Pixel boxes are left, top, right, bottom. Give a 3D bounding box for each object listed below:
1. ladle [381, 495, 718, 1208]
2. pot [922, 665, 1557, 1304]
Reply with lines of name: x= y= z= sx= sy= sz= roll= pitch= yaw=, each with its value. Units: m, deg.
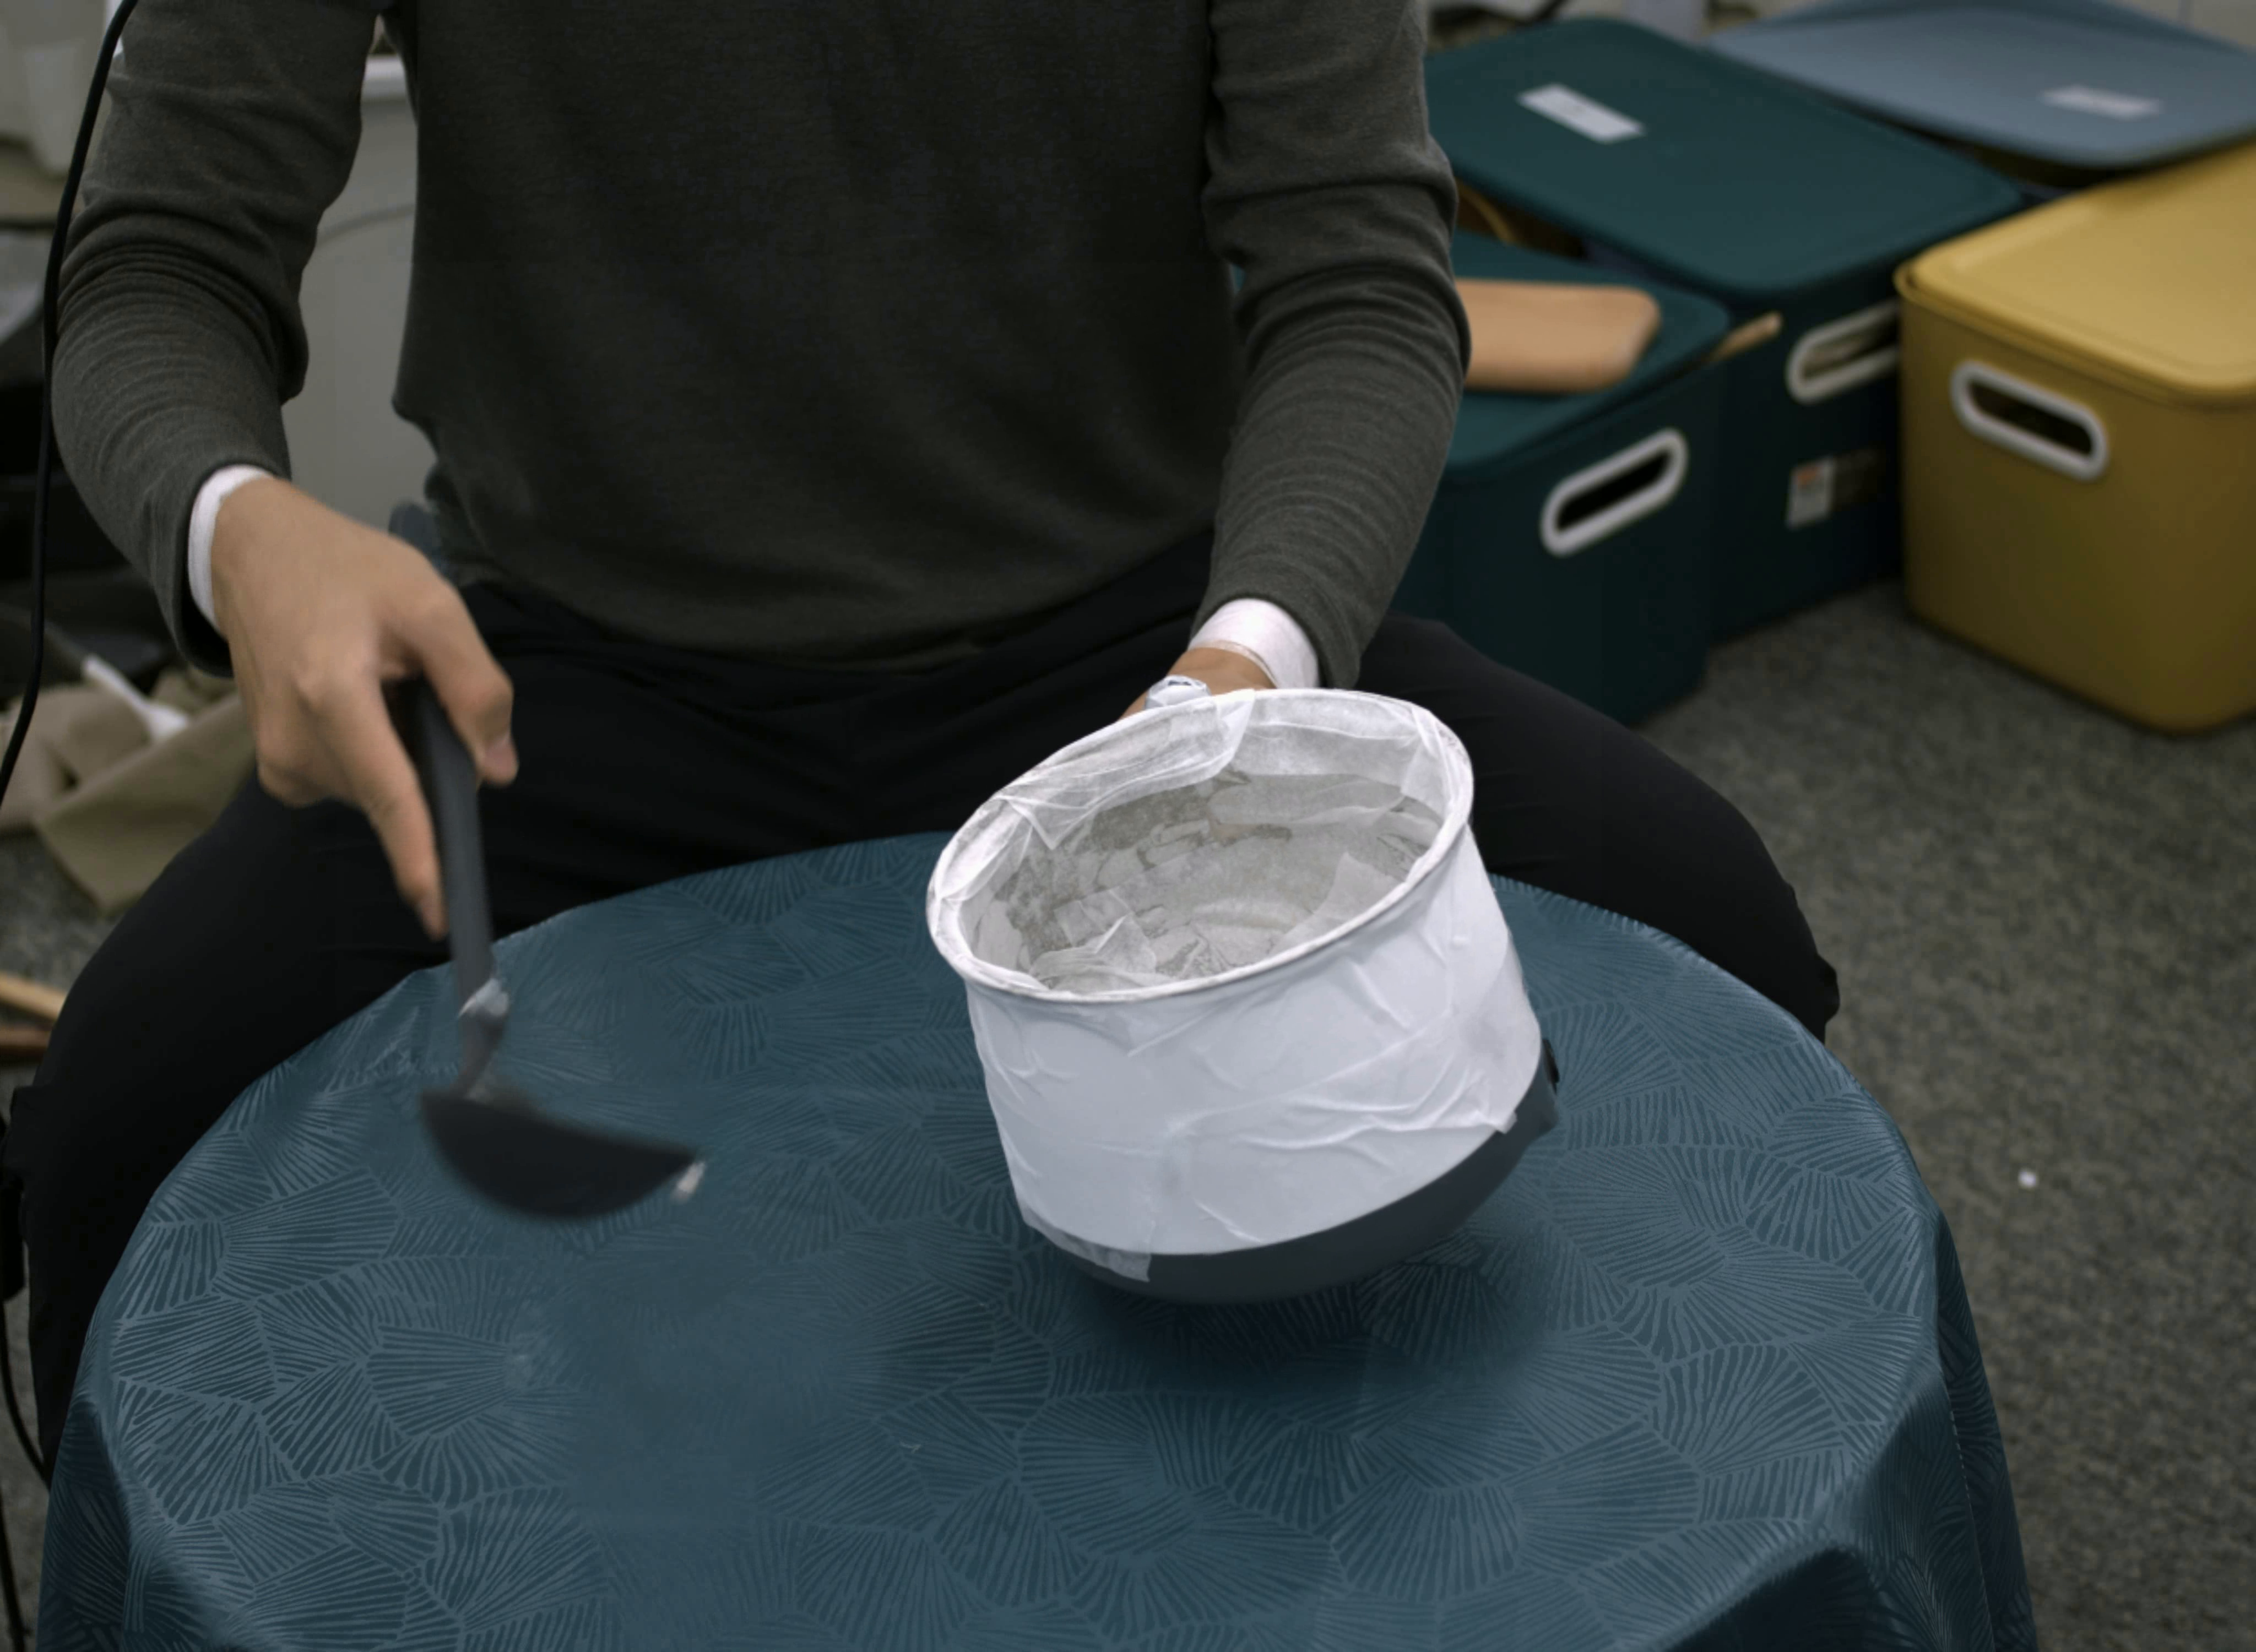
ladle: x=-0.195 y=-0.007 z=1.760 sx=0.086 sy=0.063 sz=0.319 roll=20 pitch=37 yaw=-34
pot: x=0.034 y=0.041 z=1.801 sx=0.178 sy=0.135 sz=0.237 roll=-15 pitch=29 yaw=2
